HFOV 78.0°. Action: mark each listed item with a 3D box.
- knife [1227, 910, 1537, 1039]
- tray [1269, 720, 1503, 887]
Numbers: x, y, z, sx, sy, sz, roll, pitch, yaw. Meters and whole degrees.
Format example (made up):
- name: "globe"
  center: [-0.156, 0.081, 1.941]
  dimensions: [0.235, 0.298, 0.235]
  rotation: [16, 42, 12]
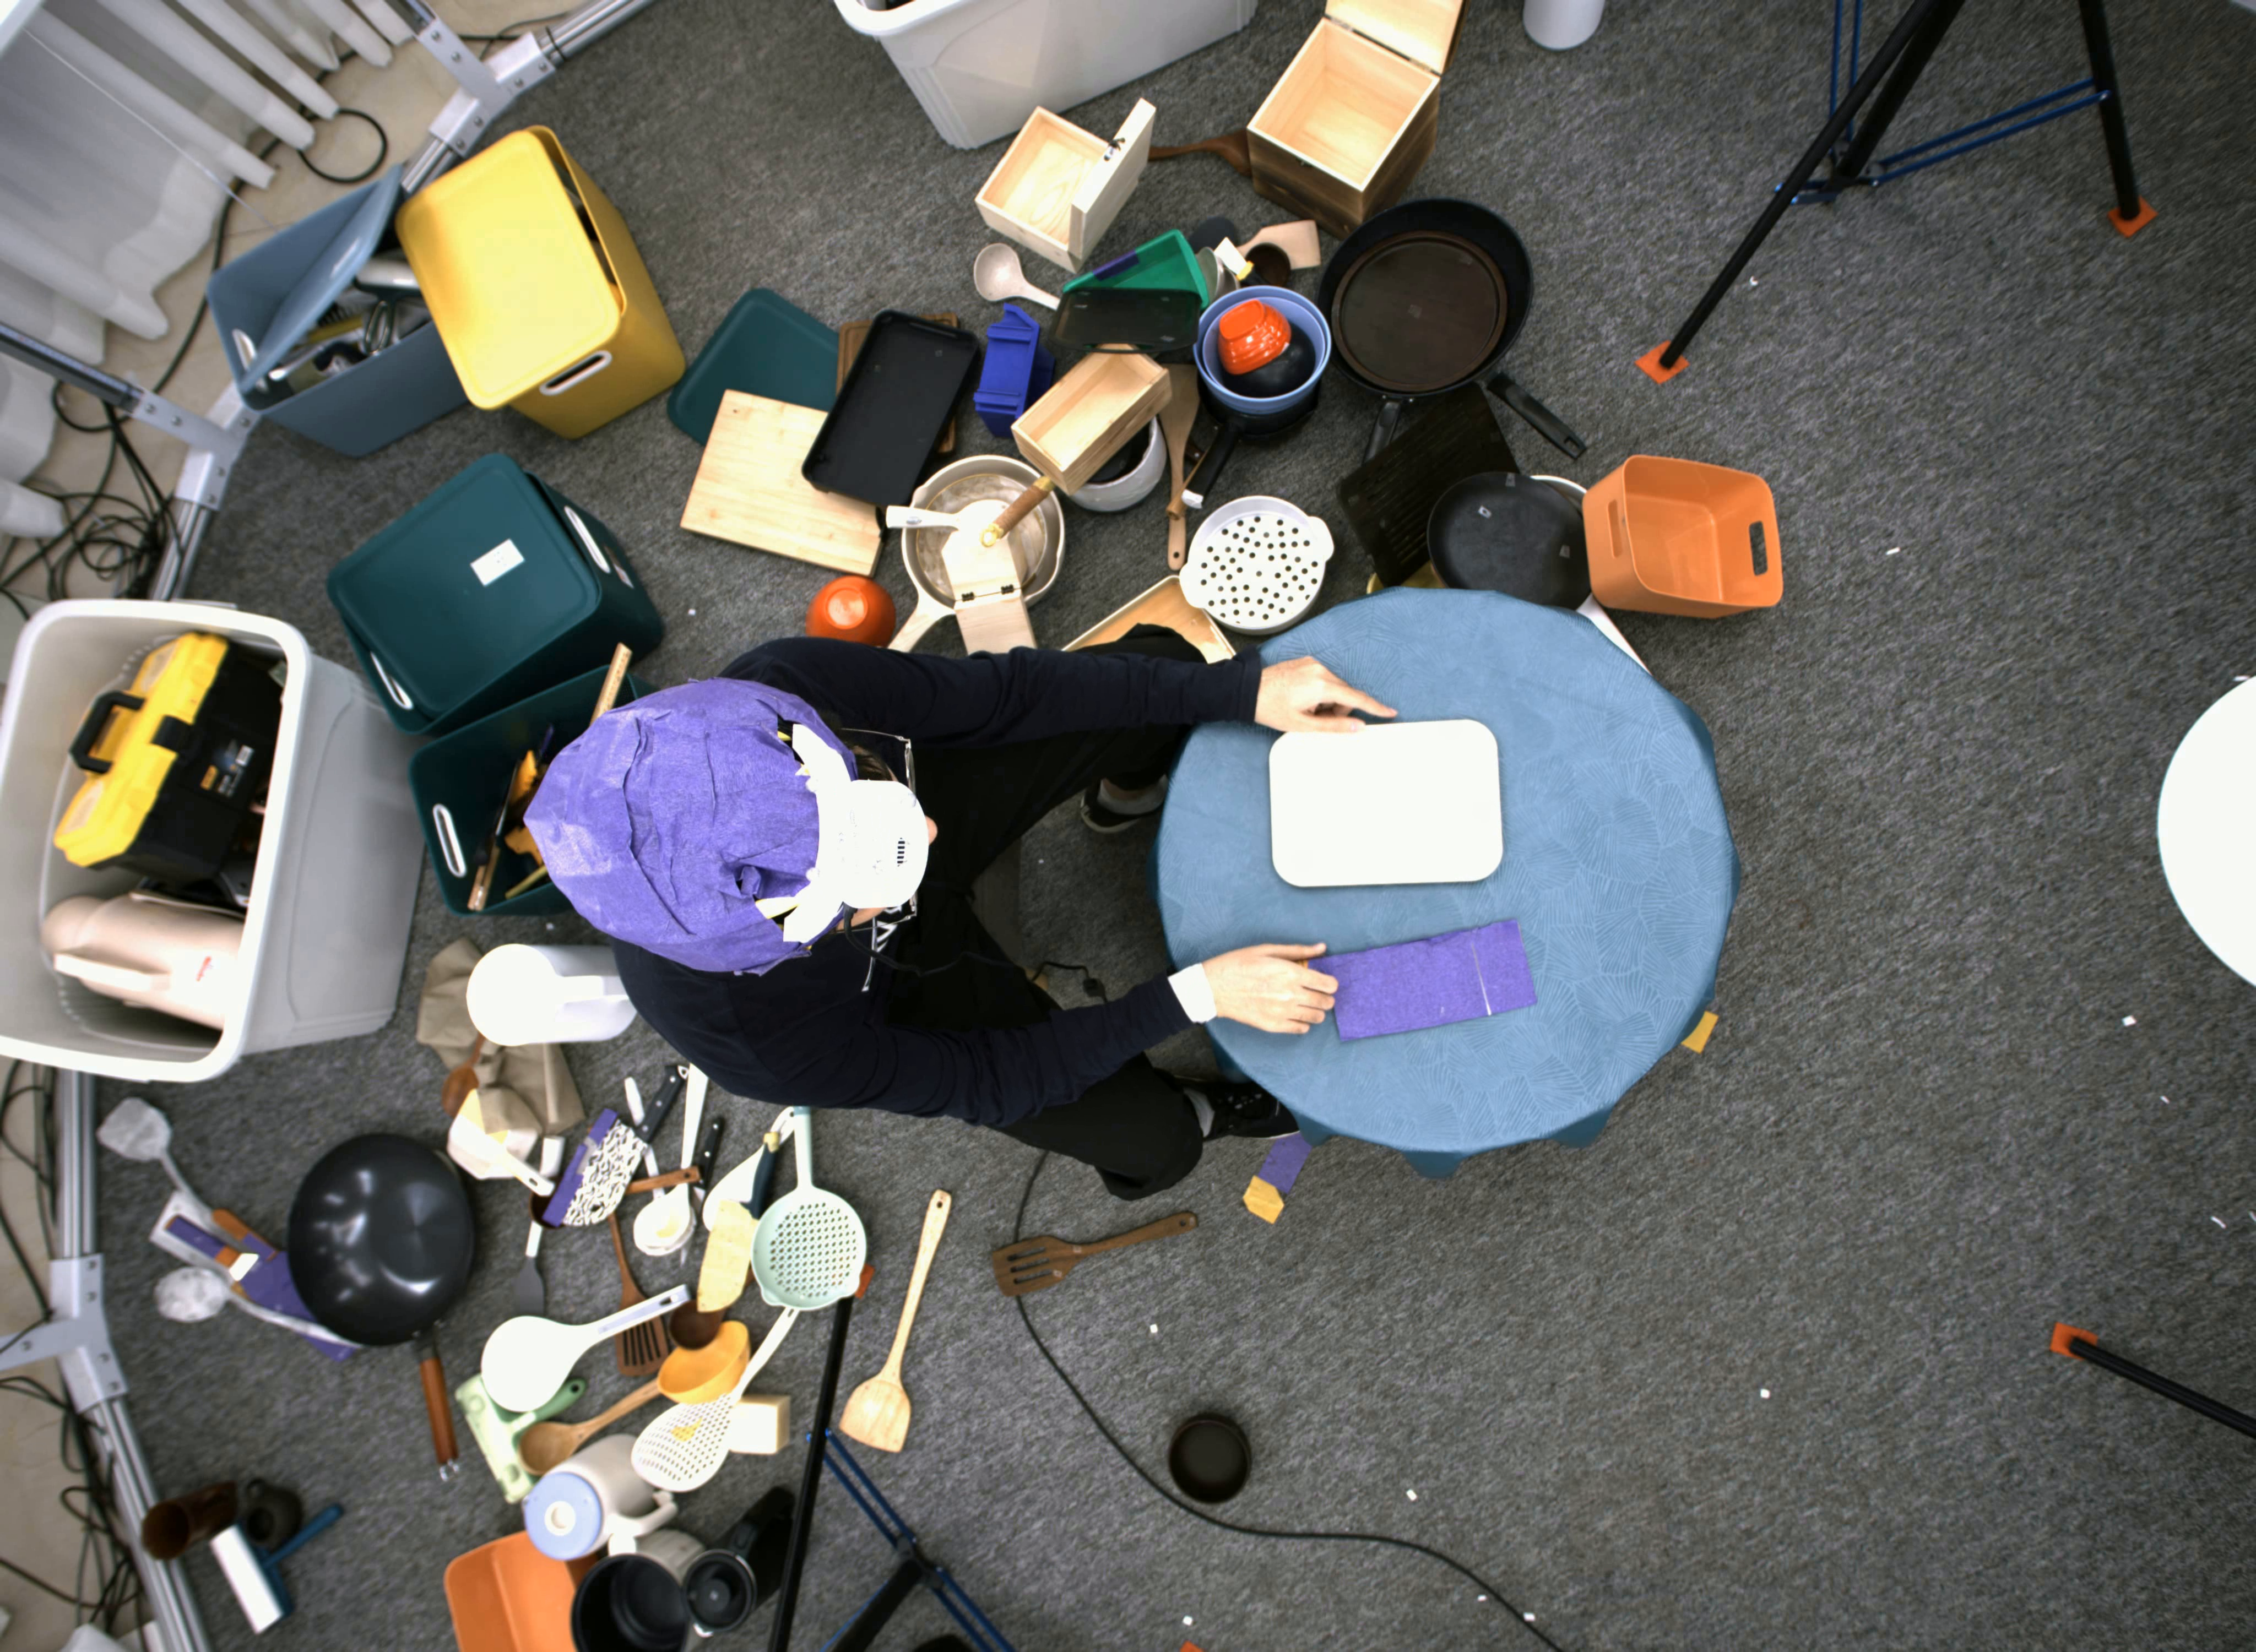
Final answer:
- name: "knife"
  center: [0.264, 0.168, 1.442]
  dimensions: [0.317, 0.032, 0.103]
  rotation: [-13, 84, 9]
- name: "tray"
  center: [0.271, -0.024, 1.456]
  dimensions: [0.241, 0.017, 0.170]
  rotation: [-2, 87, 11]
